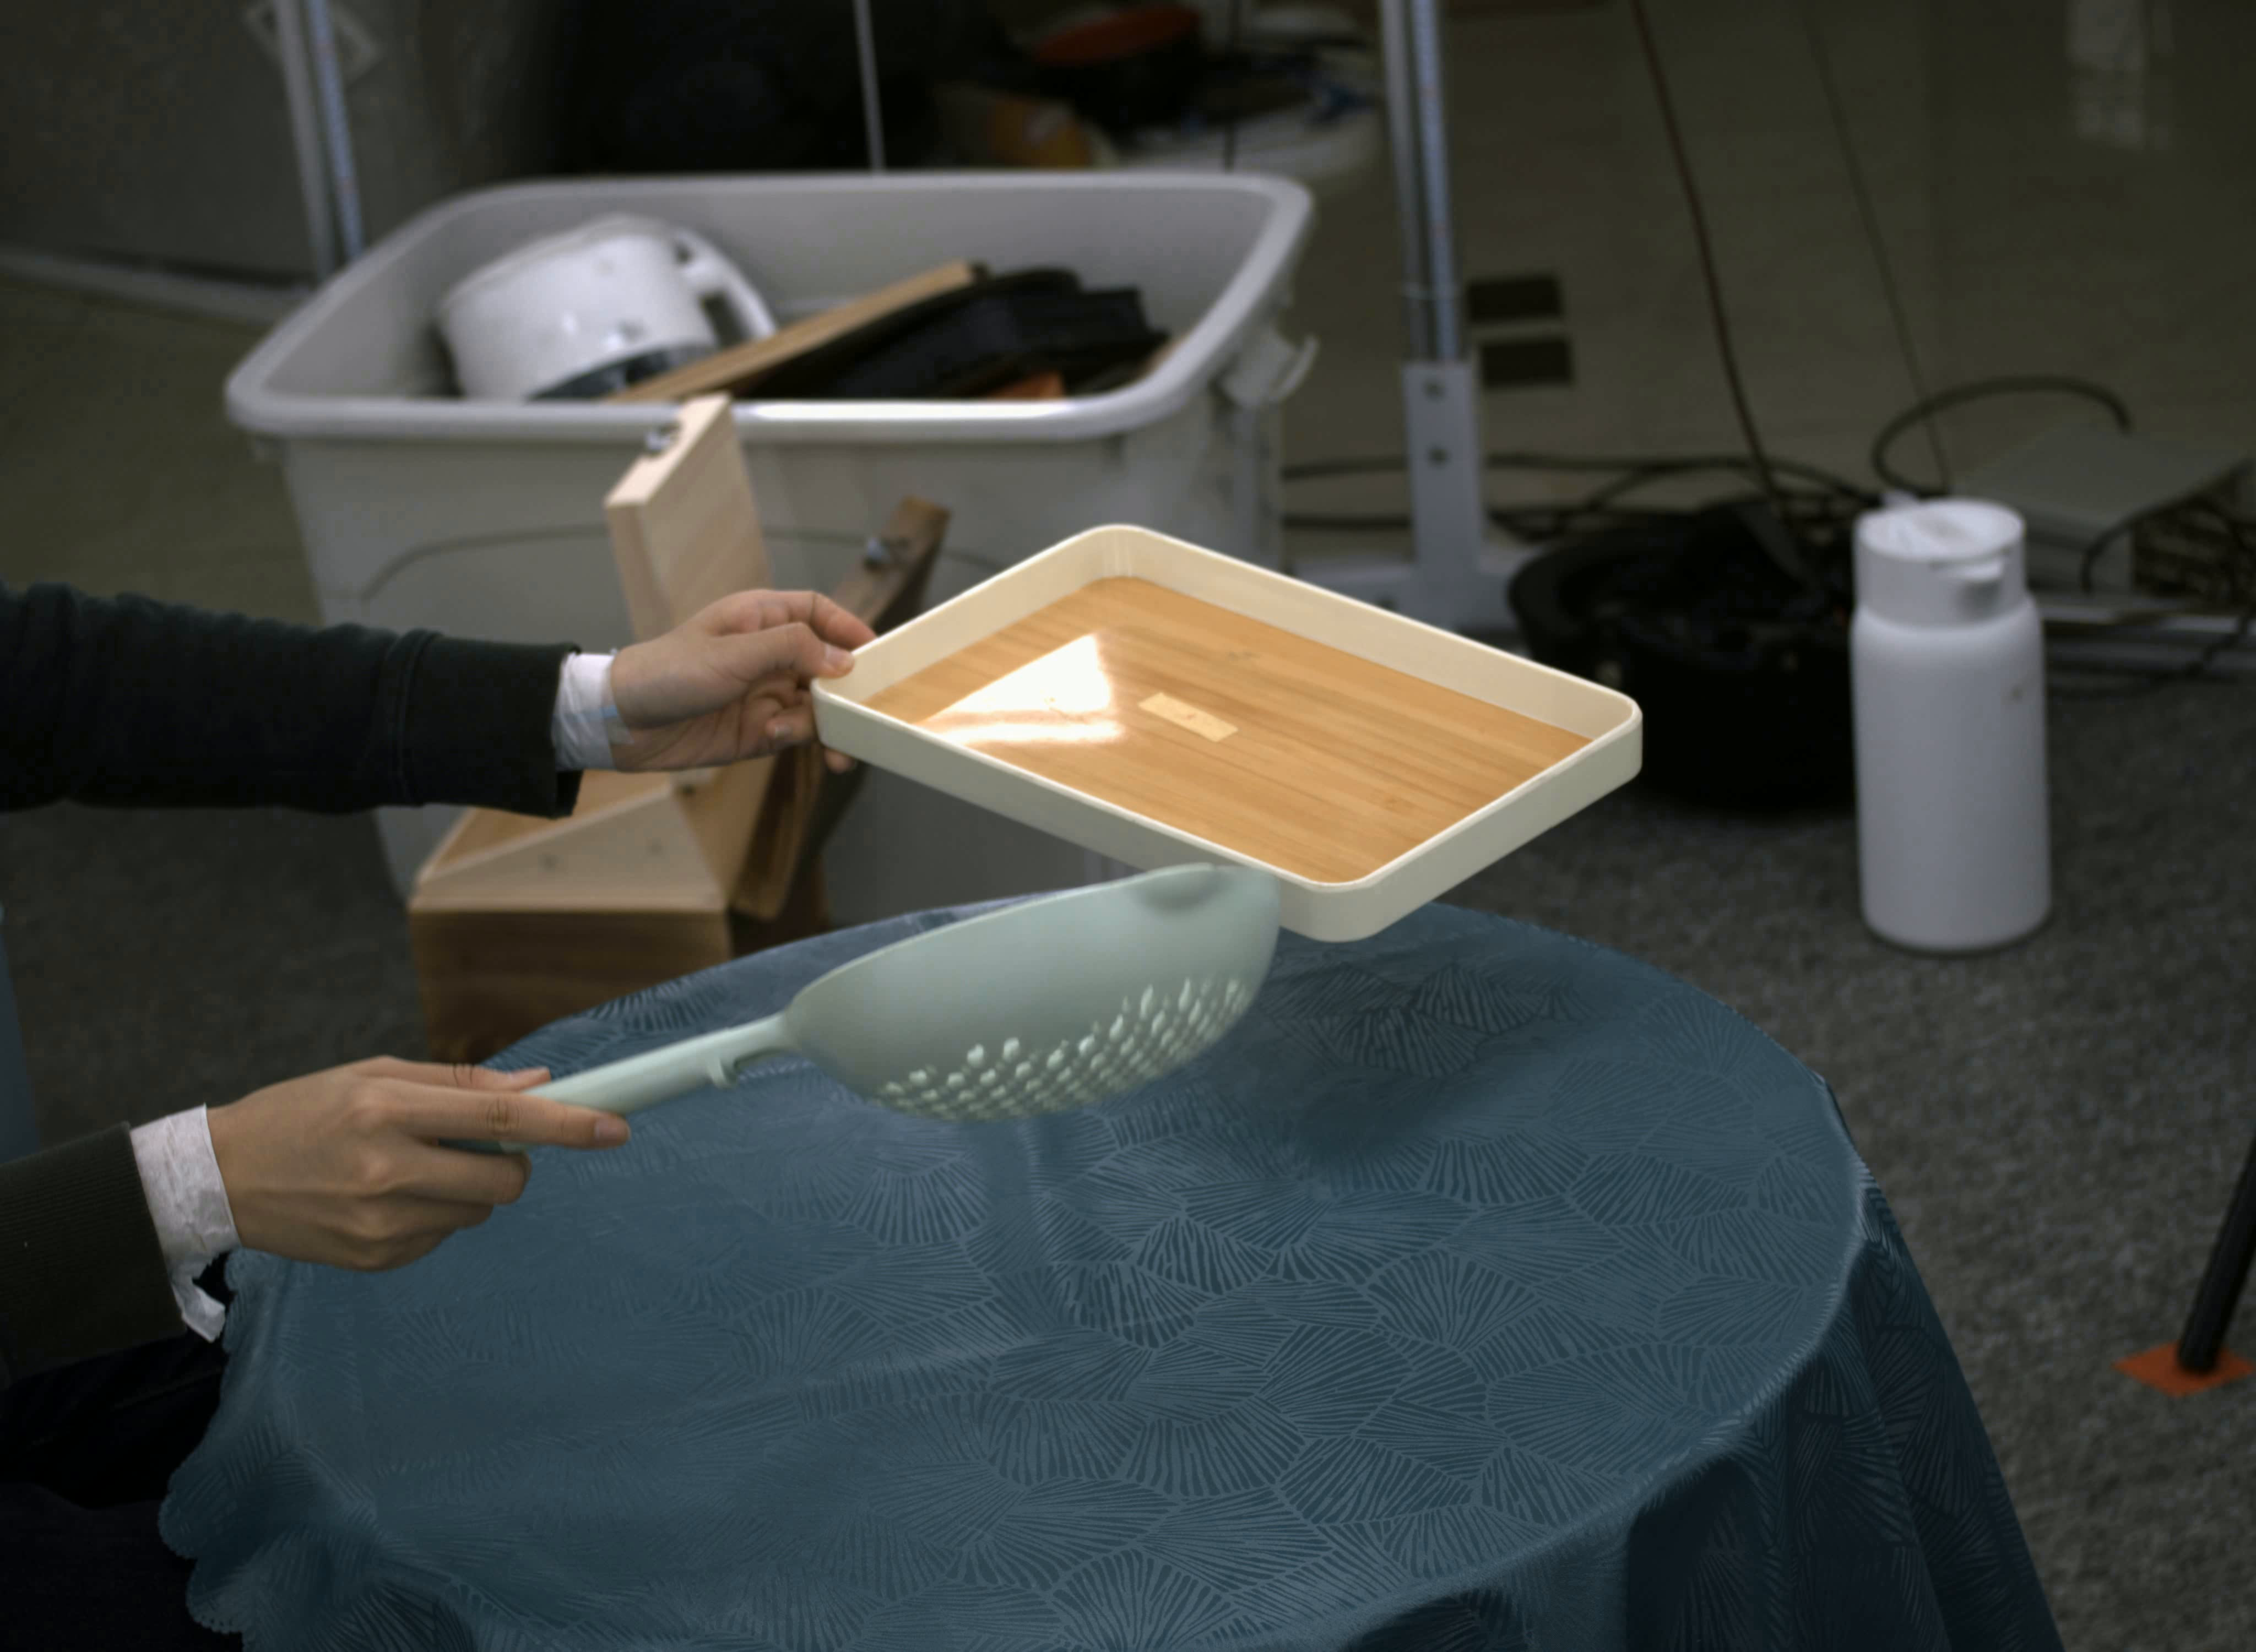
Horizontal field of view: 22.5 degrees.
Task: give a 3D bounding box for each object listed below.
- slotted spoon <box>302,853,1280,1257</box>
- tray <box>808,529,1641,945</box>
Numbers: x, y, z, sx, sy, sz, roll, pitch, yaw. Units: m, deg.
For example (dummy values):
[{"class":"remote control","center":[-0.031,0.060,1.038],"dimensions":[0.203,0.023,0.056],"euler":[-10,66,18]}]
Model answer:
[{"class":"slotted spoon","center":[-0.119,0.080,1.937],"dimensions":[0.358,0.075,0.170],"euler":[-11,-9,10]},{"class":"tray","center":[0.036,-0.040,2.254],"dimensions":[0.298,0.028,0.190],"euler":[22,38,39]}]
